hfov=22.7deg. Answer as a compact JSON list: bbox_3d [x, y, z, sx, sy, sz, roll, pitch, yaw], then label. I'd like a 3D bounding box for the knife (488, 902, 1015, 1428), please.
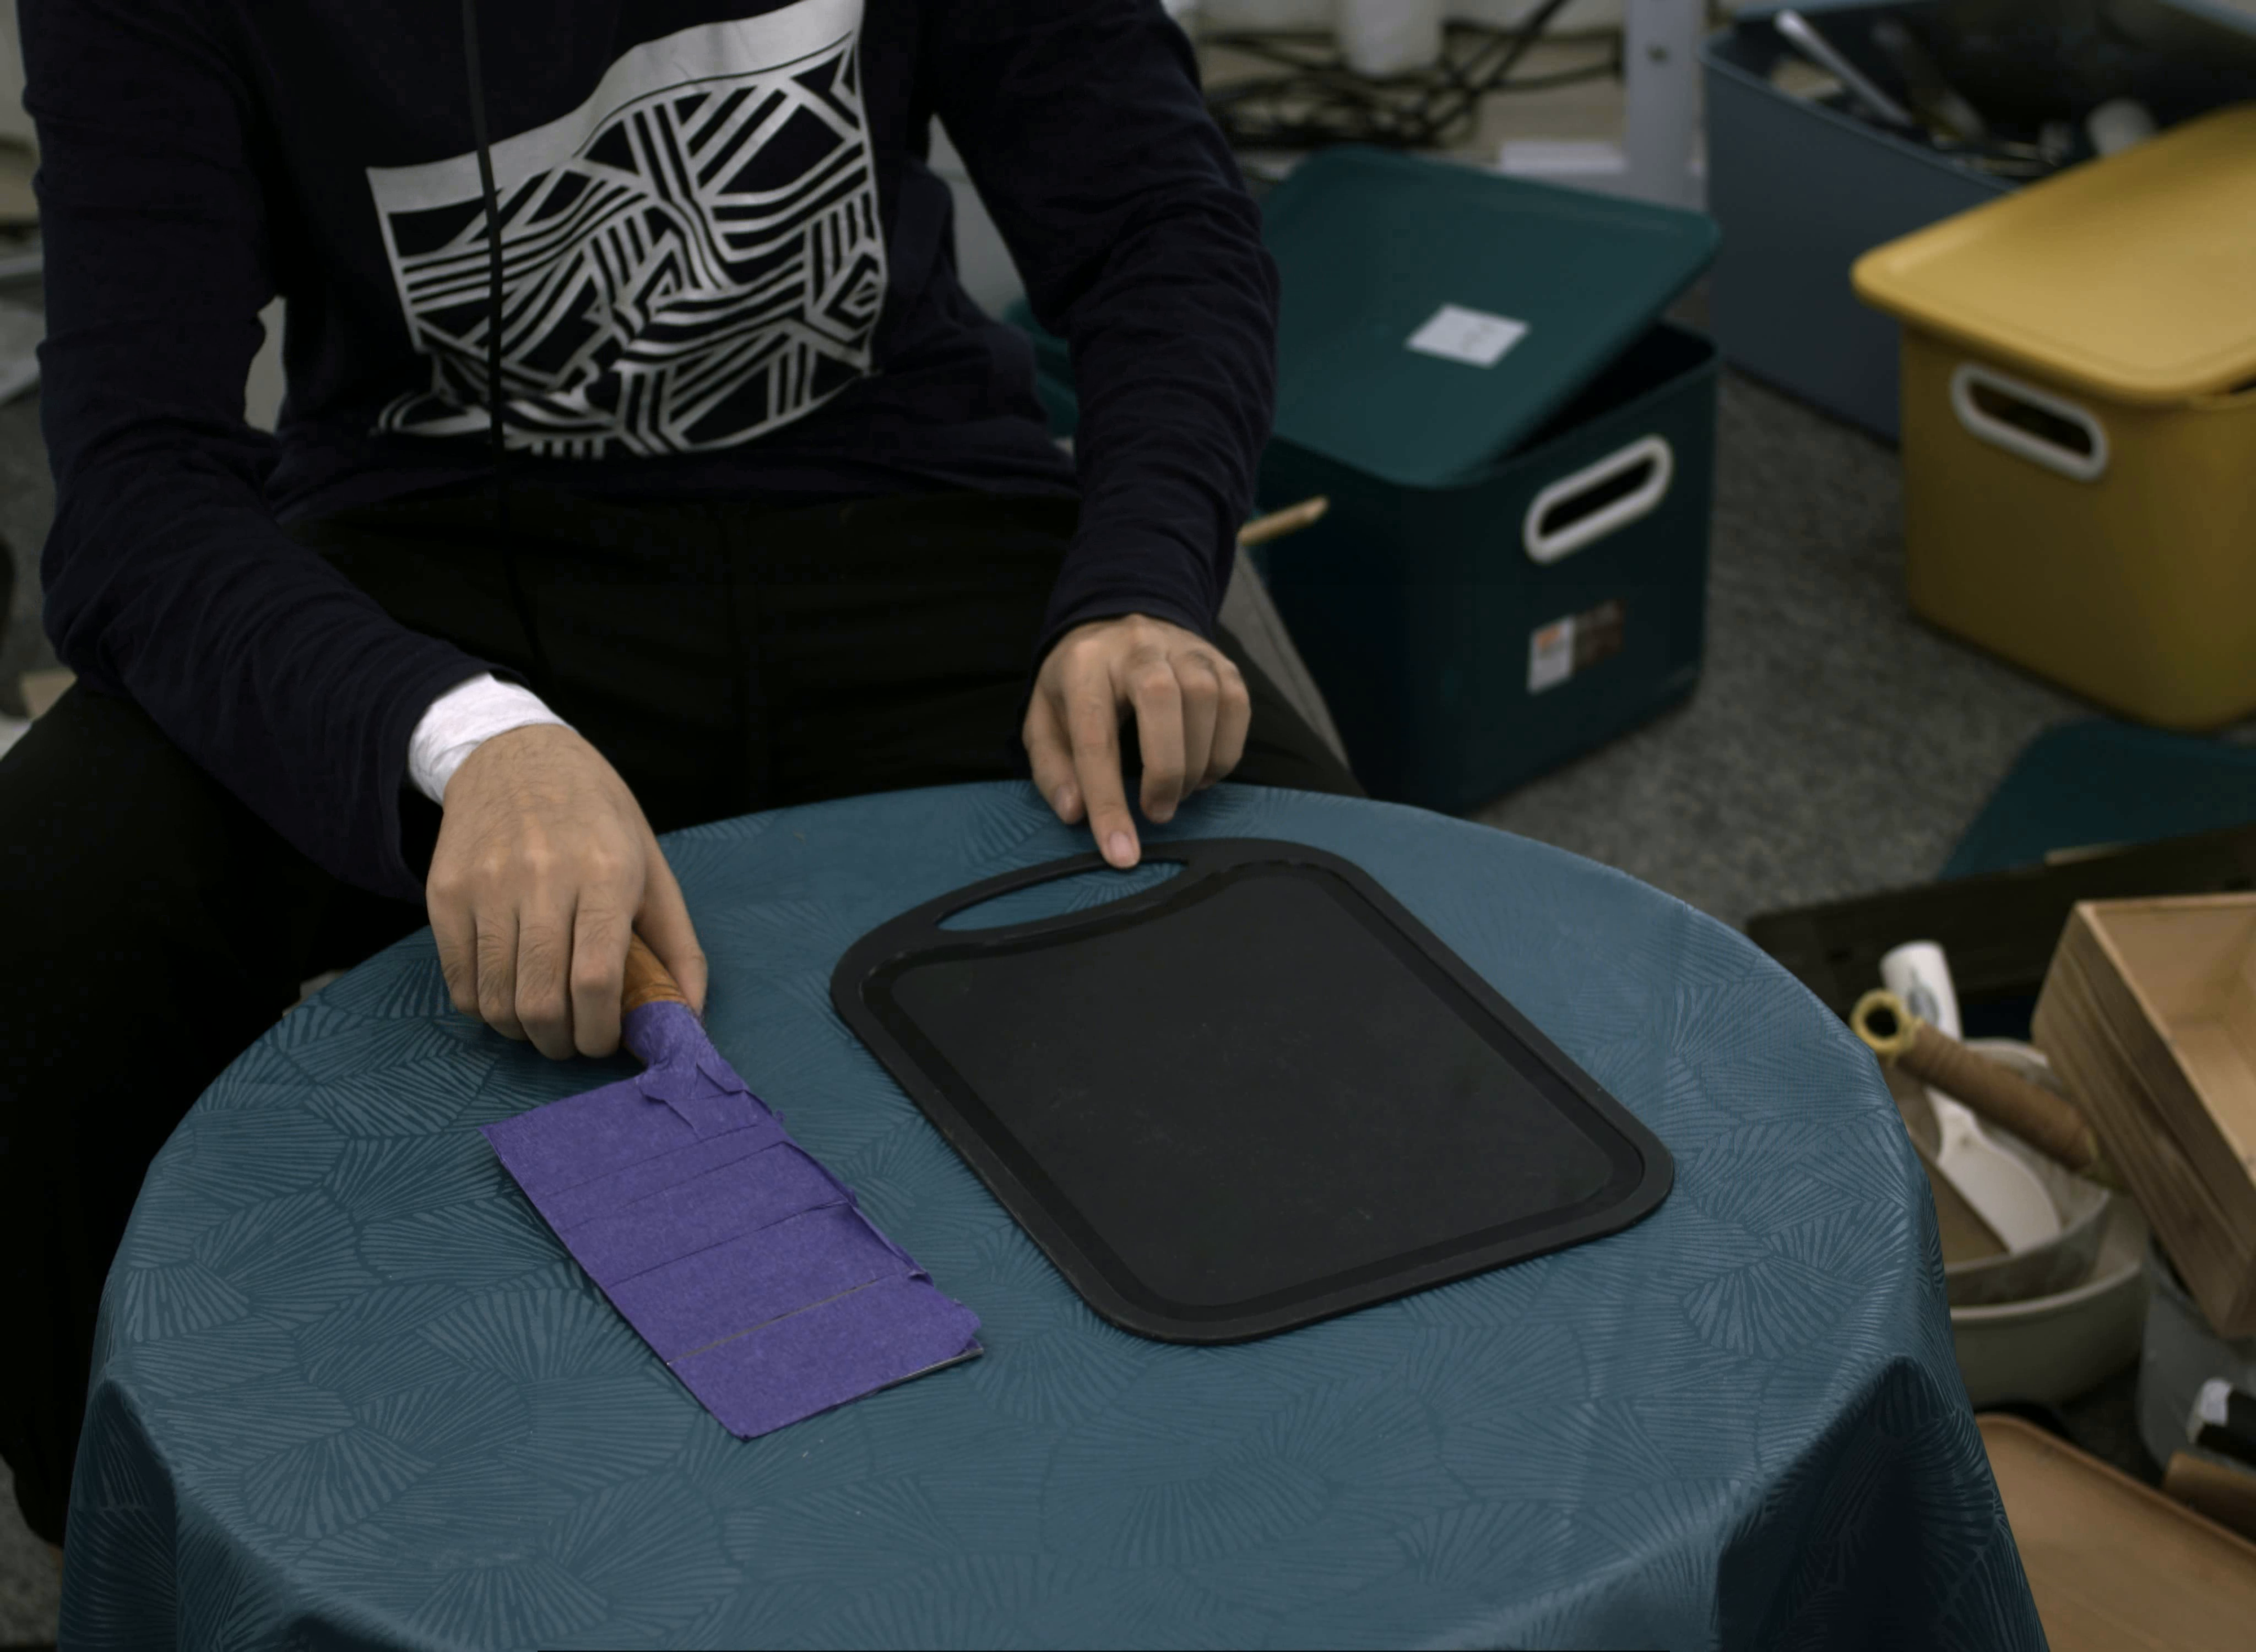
[{"bbox_3d":[-0.155,0.109,1.872,0.104,0.032,0.317,-17,31,-25],"label":"knife"}]

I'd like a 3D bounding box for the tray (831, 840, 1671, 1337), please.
[{"bbox_3d":[0.032,0.080,1.931,0.212,0.009,0.327,-14,29,-20],"label":"tray"}]
